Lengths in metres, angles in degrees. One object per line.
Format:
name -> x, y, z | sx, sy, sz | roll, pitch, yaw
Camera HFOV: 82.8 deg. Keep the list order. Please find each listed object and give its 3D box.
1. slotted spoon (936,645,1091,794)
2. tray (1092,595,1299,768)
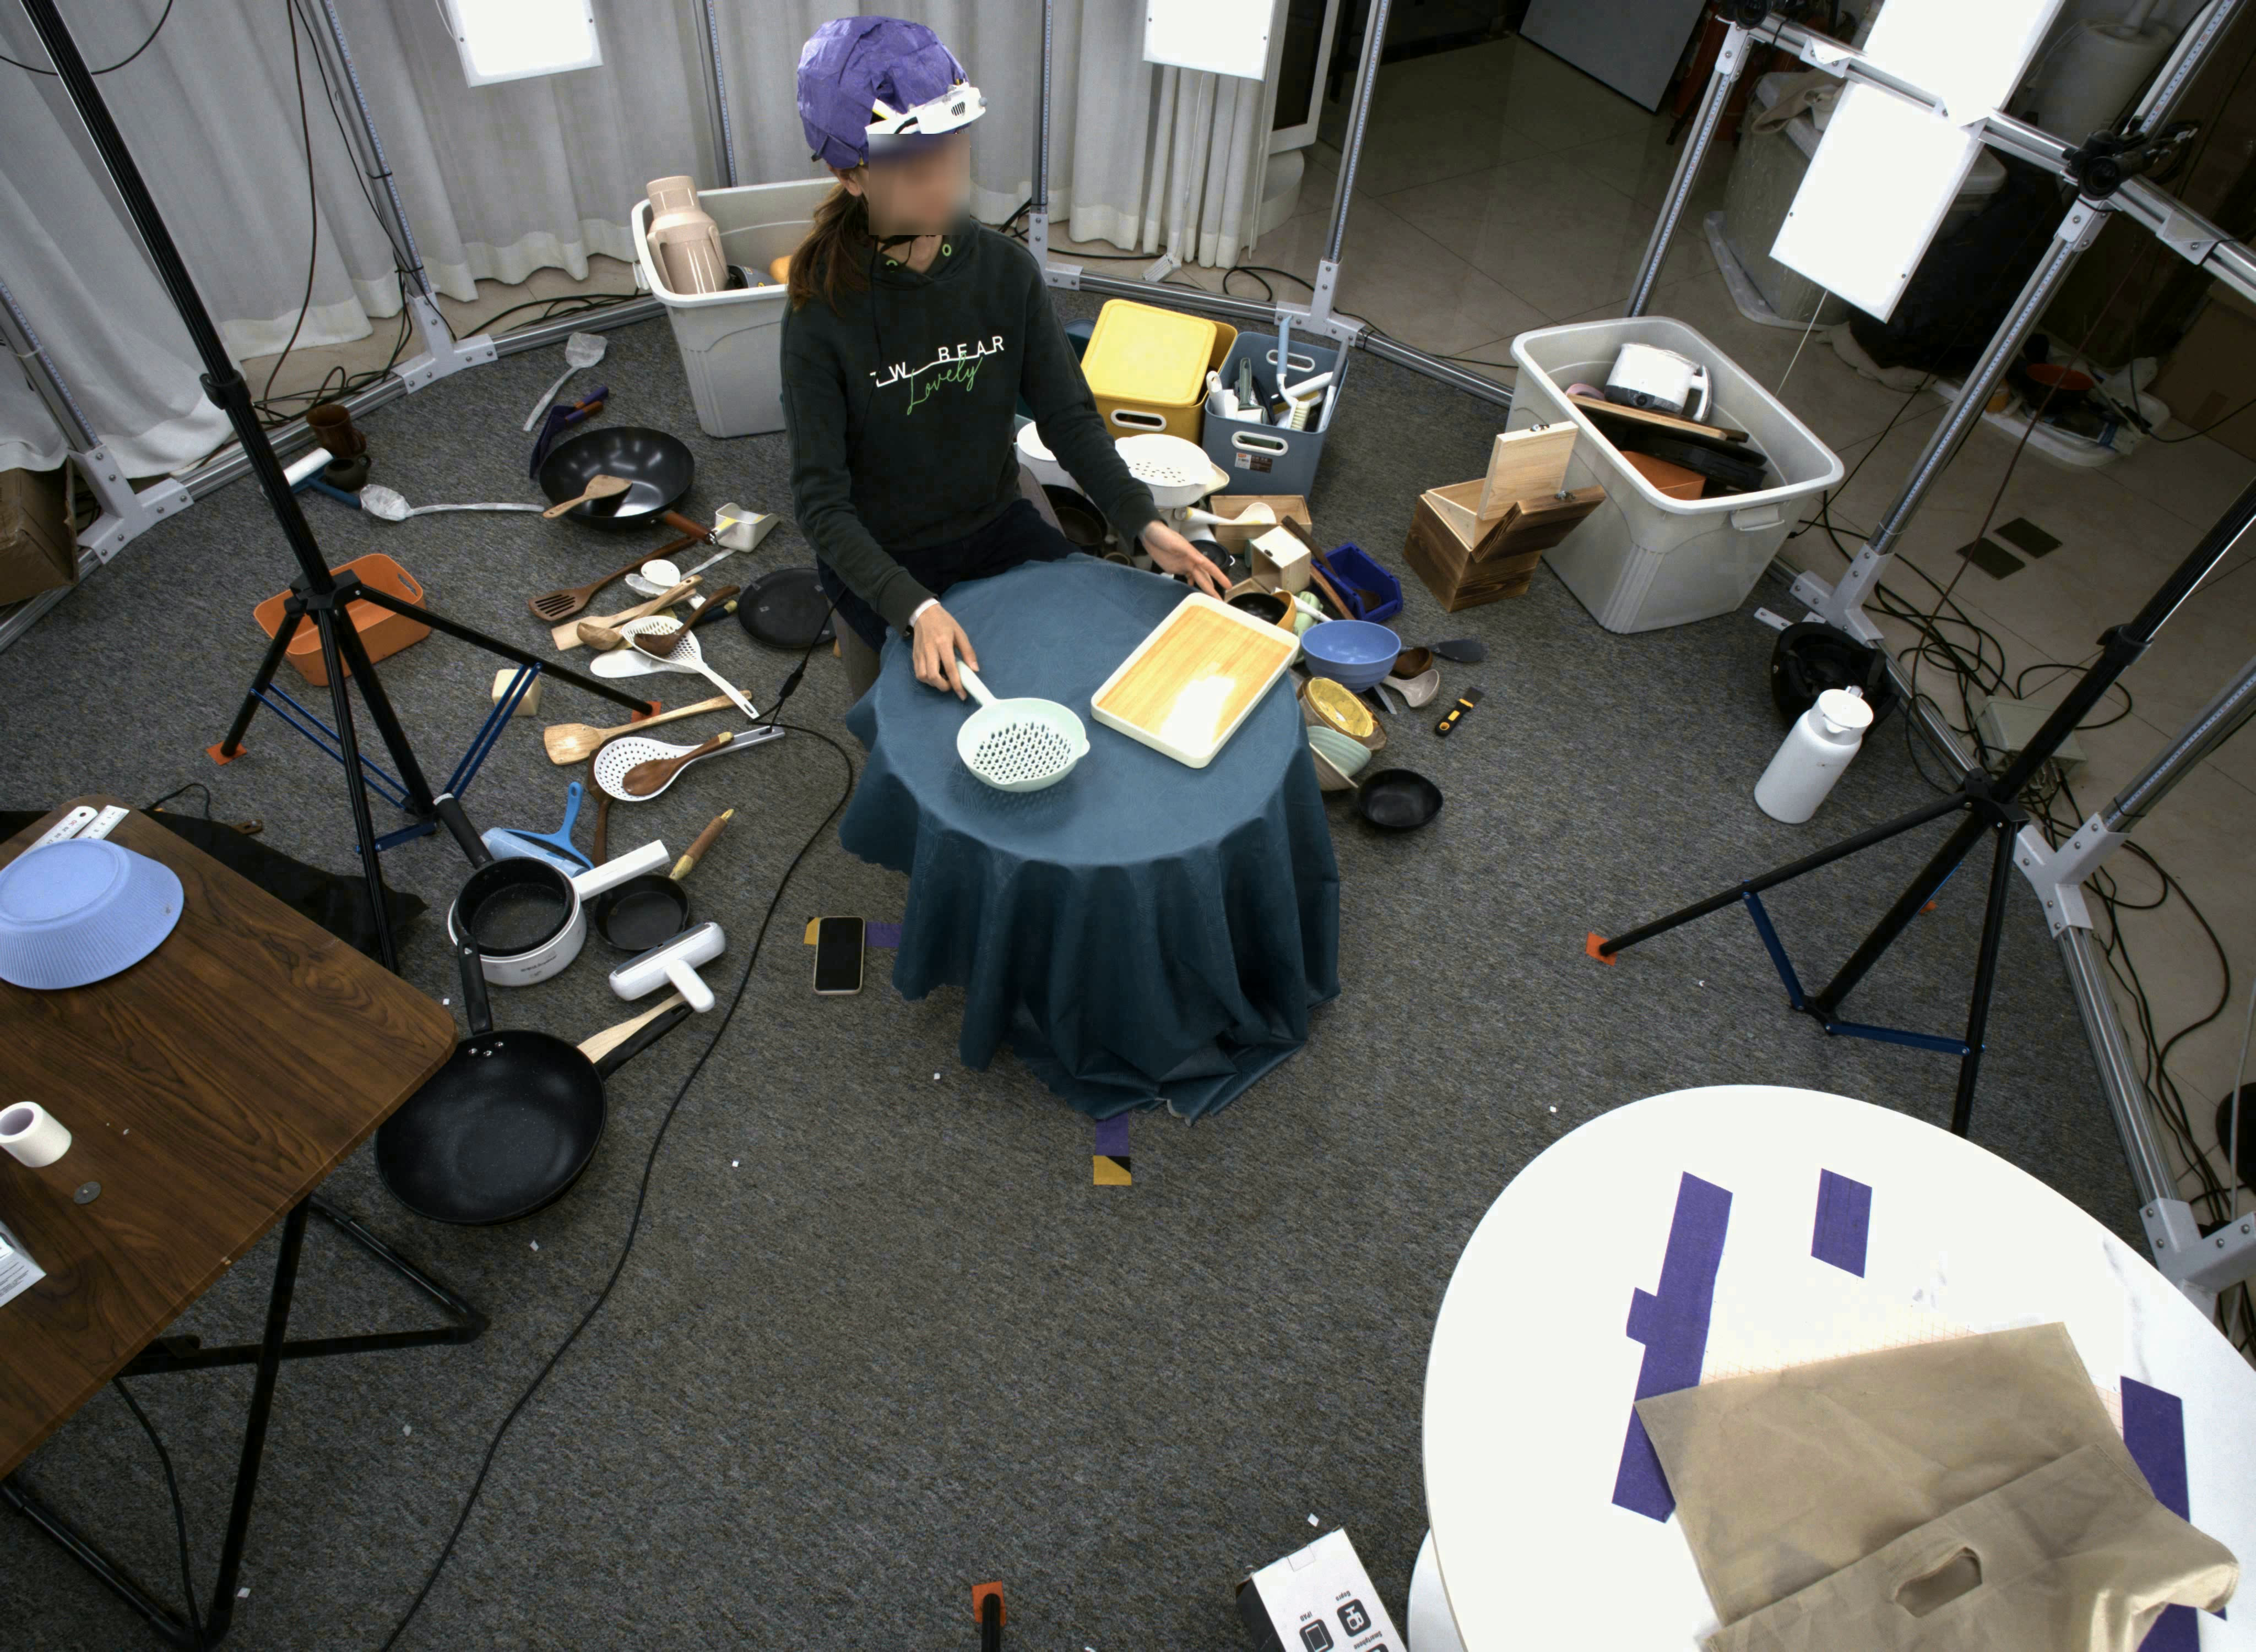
slotted spoon -> -0.188, -0.164, 1.772 | 0.170, 0.073, 0.366 | -22, 54, -20
tray -> 0.101, -0.216, 1.862 | 0.193, 0.027, 0.305 | 27, 52, 19
